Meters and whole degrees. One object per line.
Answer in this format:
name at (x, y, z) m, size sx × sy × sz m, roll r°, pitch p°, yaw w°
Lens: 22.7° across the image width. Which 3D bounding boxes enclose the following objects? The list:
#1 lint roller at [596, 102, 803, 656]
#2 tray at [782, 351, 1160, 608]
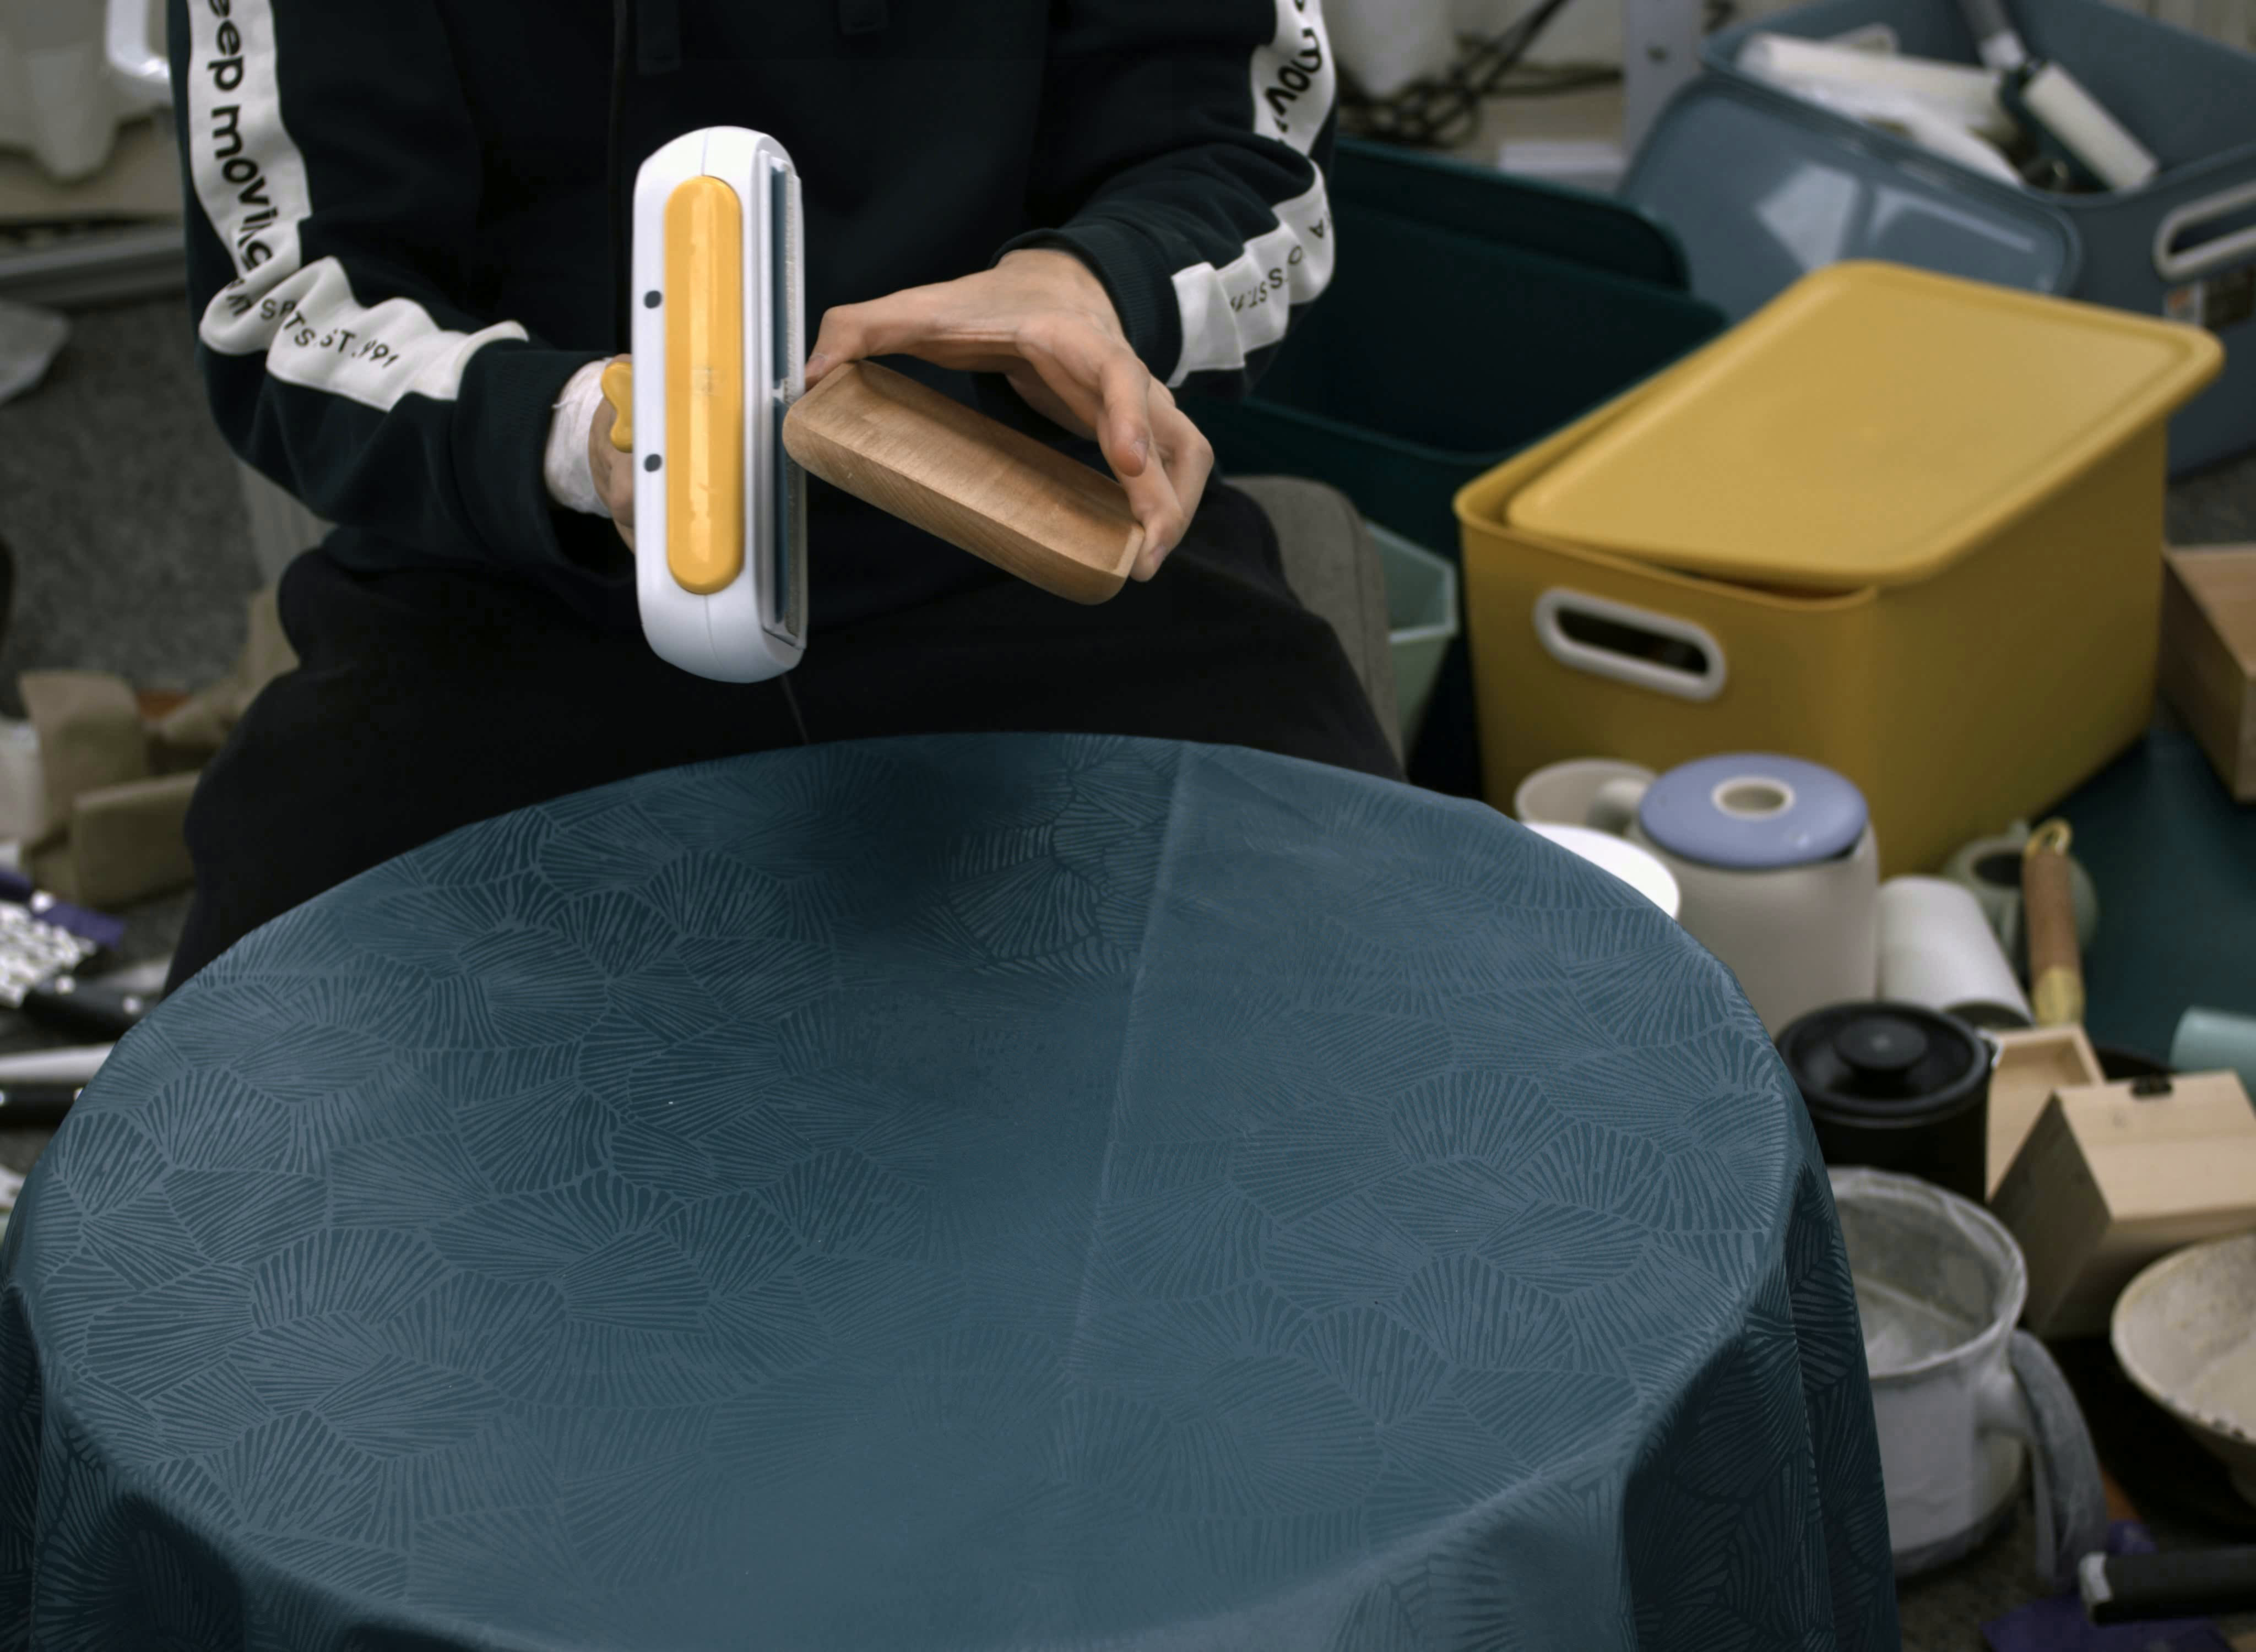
lint roller at (-0.140, -0.140, 1.999) m, size 0.074 × 0.195 × 0.191 m, roll -8°, pitch -15°, yaw 6°
tray at (-0.053, -0.123, 1.974) m, size 0.130 × 0.023 × 0.252 m, roll 30°, pitch 9°, yaw -1°
